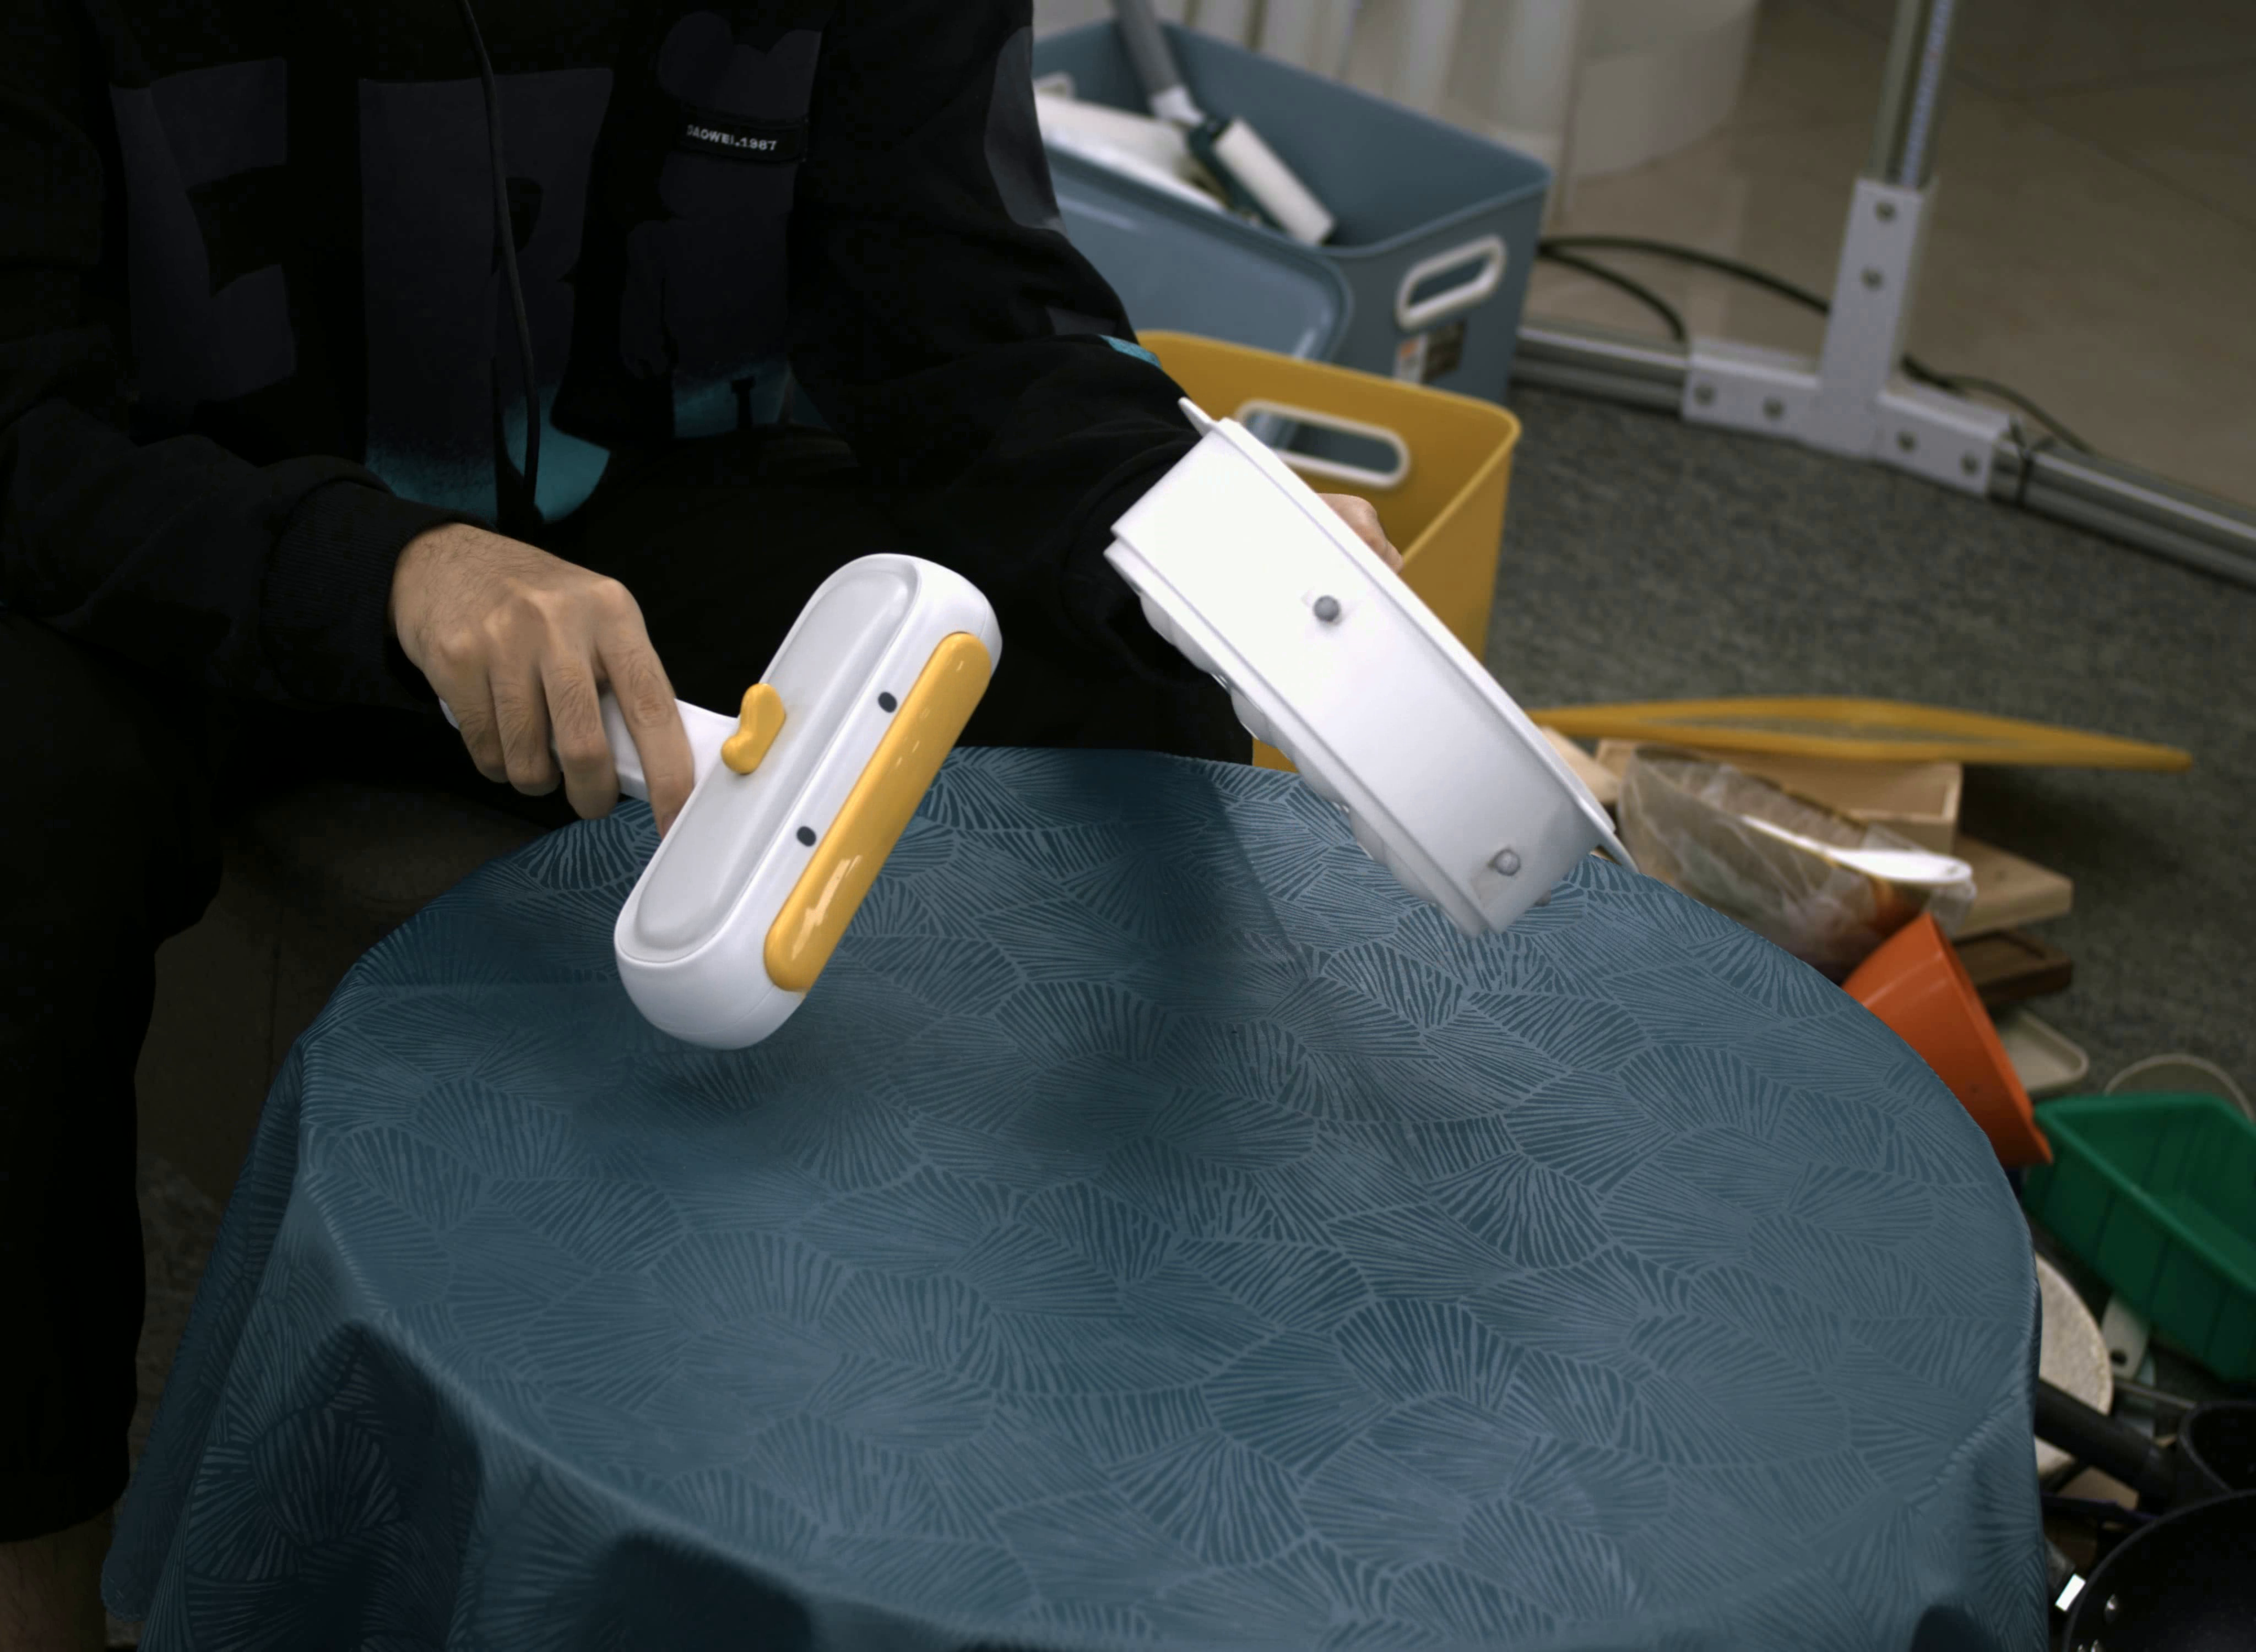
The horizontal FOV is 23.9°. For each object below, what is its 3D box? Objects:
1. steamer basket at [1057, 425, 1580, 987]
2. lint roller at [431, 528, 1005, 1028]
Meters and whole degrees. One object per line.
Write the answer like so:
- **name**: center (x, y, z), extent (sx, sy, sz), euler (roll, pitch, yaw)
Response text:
- **steamer basket**: center (0.059, -0.035, 1.824), extent (0.232, 0.069, 0.200), euler (50, 7, 21)
- **lint roller**: center (-0.157, -0.028, 1.863), extent (0.193, 0.073, 0.193), euler (8, 63, 35)
